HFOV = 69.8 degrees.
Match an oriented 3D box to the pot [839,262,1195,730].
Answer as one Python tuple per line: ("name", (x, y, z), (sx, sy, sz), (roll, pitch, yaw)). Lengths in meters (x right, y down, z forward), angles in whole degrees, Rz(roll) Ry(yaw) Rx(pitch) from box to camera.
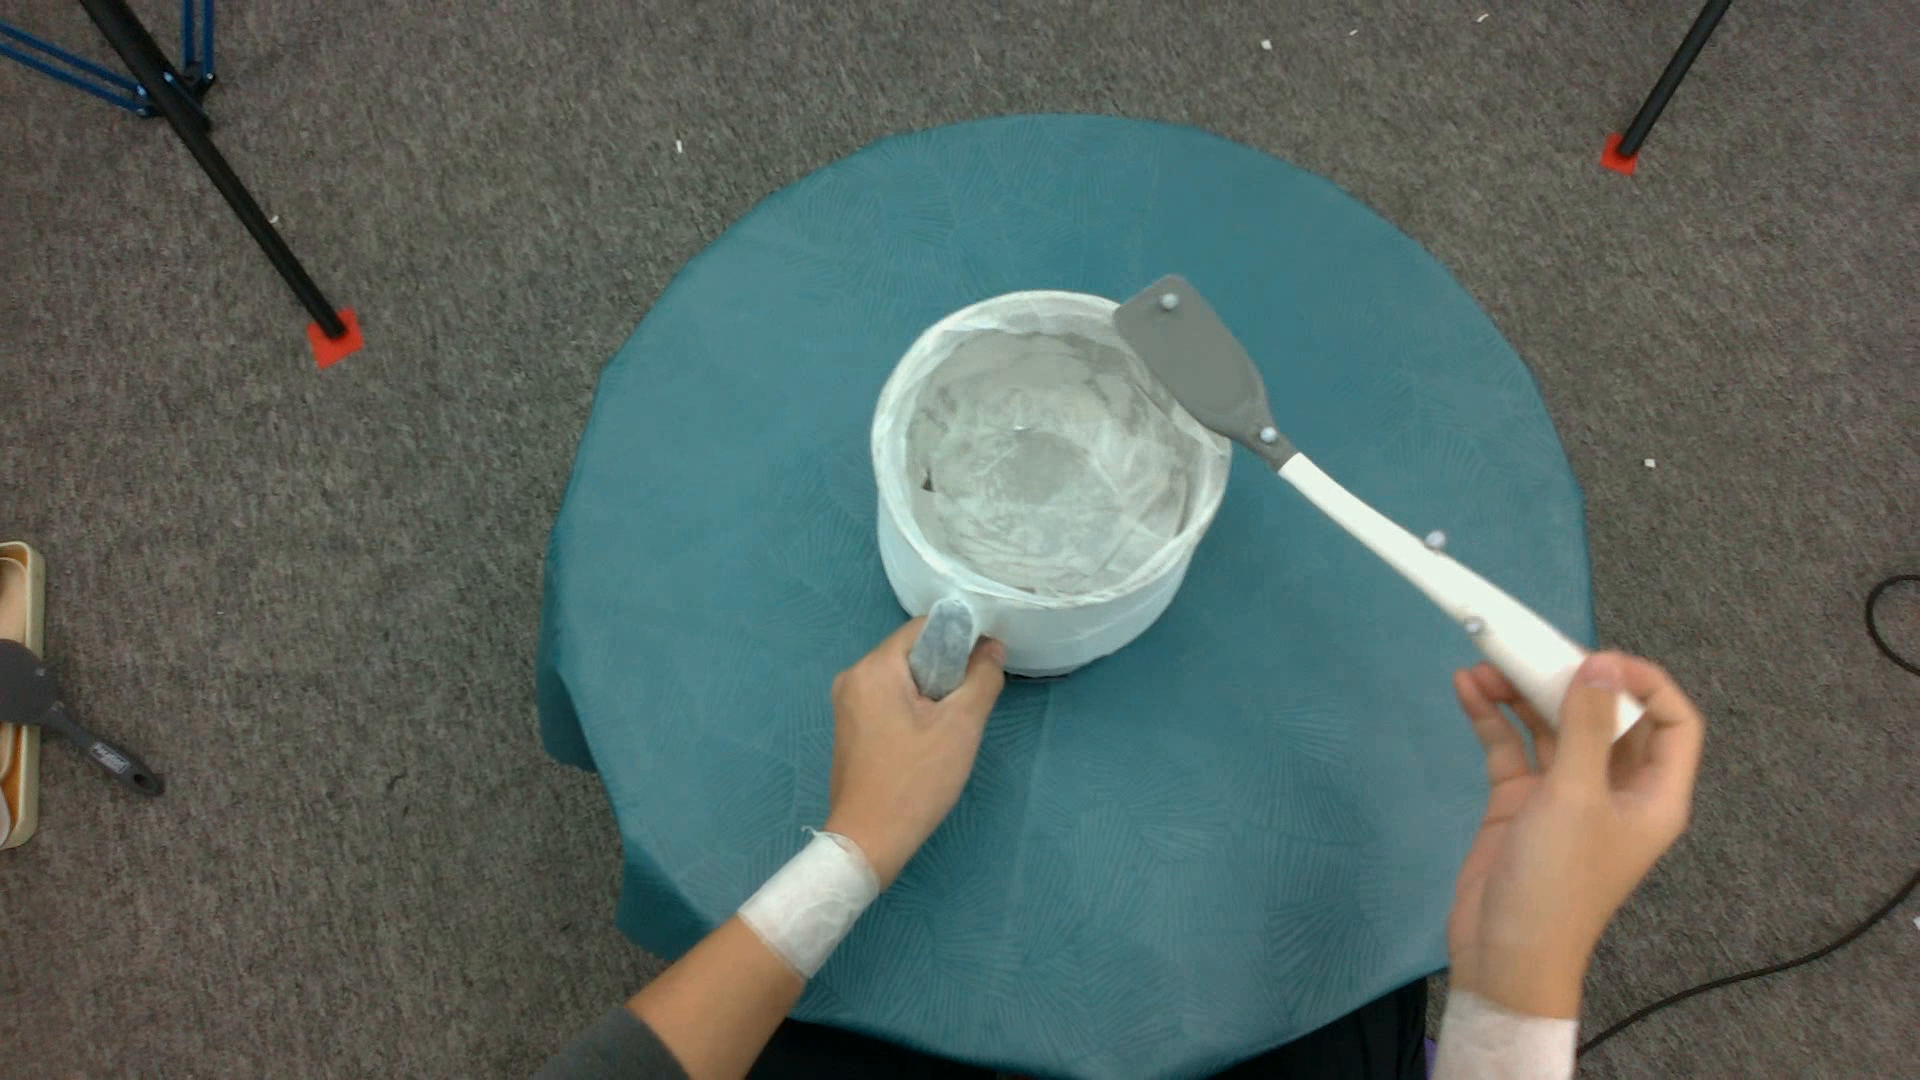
("pot", (0.015, -0.015, 0.728), (0.178, 0.136, 0.234), (24, 69, 7))

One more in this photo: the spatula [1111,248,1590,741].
("spatula", (0.175, -0.027, 0.642), (0.059, 0.032, 0.288), (-31, 71, -24))
